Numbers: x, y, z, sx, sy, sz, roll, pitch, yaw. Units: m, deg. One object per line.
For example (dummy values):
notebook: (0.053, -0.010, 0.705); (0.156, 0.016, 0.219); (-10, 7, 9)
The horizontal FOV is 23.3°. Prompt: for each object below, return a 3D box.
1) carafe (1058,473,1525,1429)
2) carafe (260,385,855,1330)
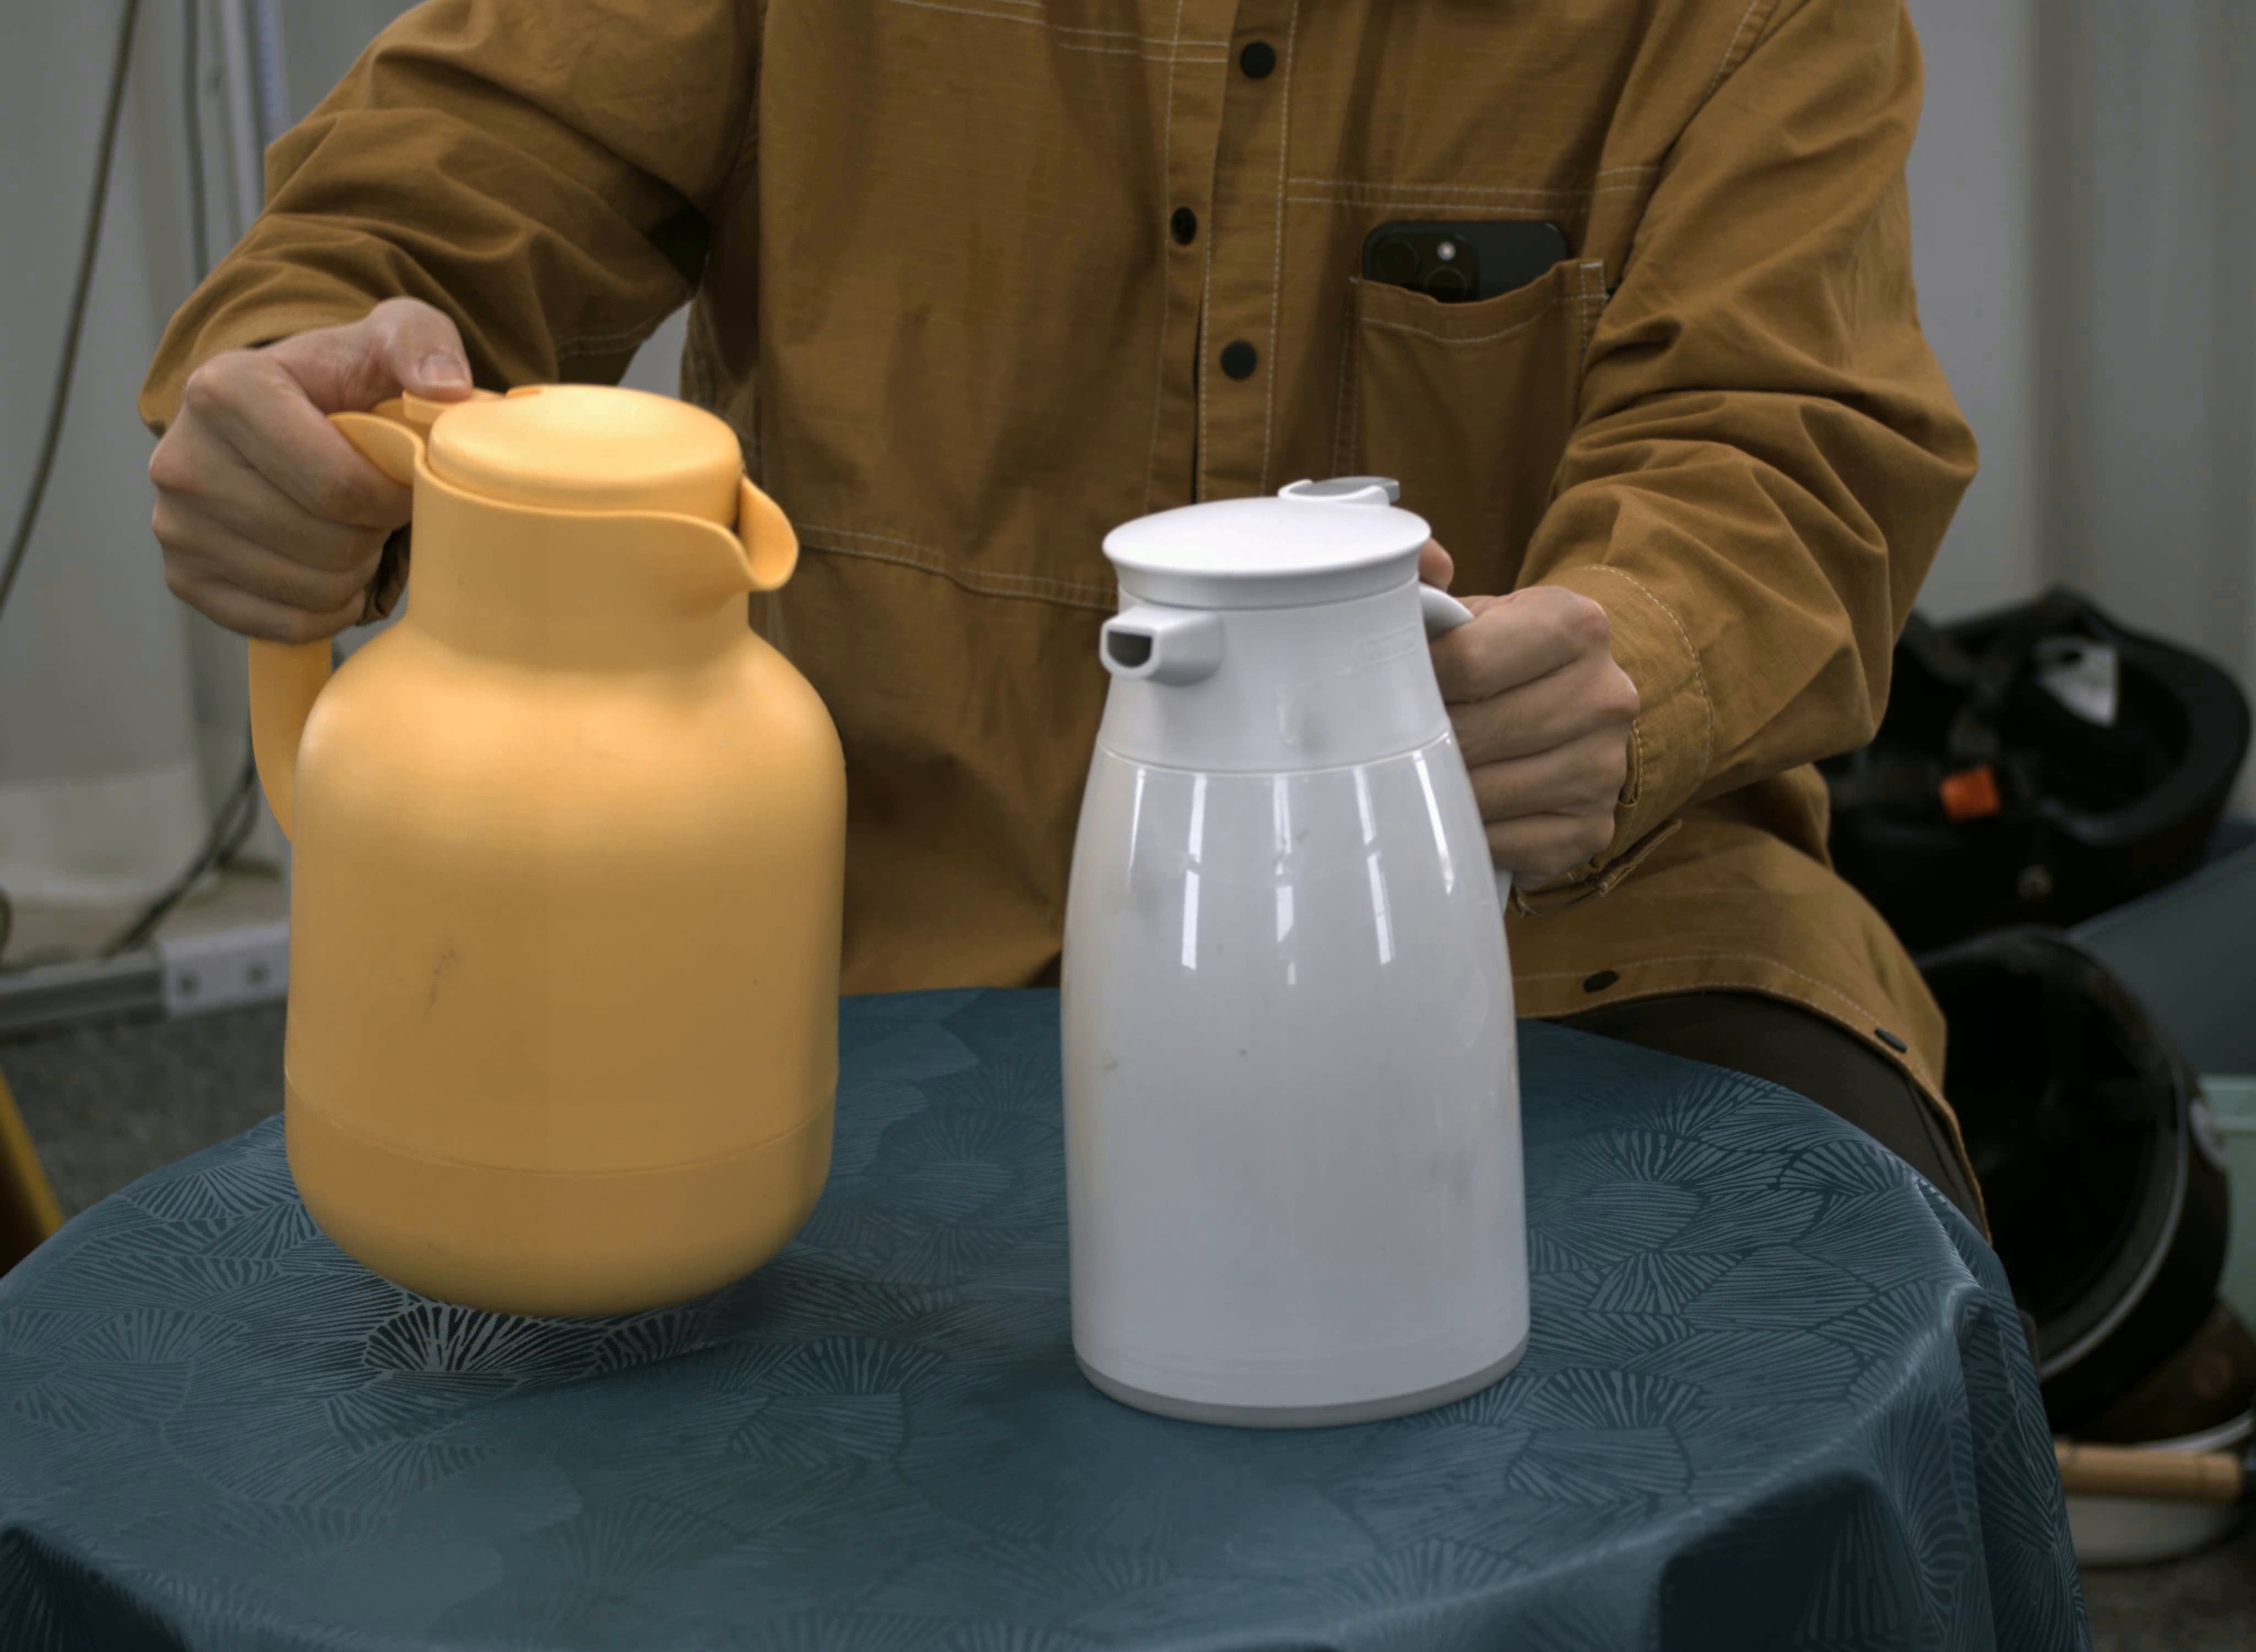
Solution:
carafe: (0.055, 0.026, 1.558); (0.133, 0.248, 0.167); (8, 17, 38)
carafe: (-0.174, 0.000, 1.605); (0.204, 0.259, 0.163); (19, 23, 35)
